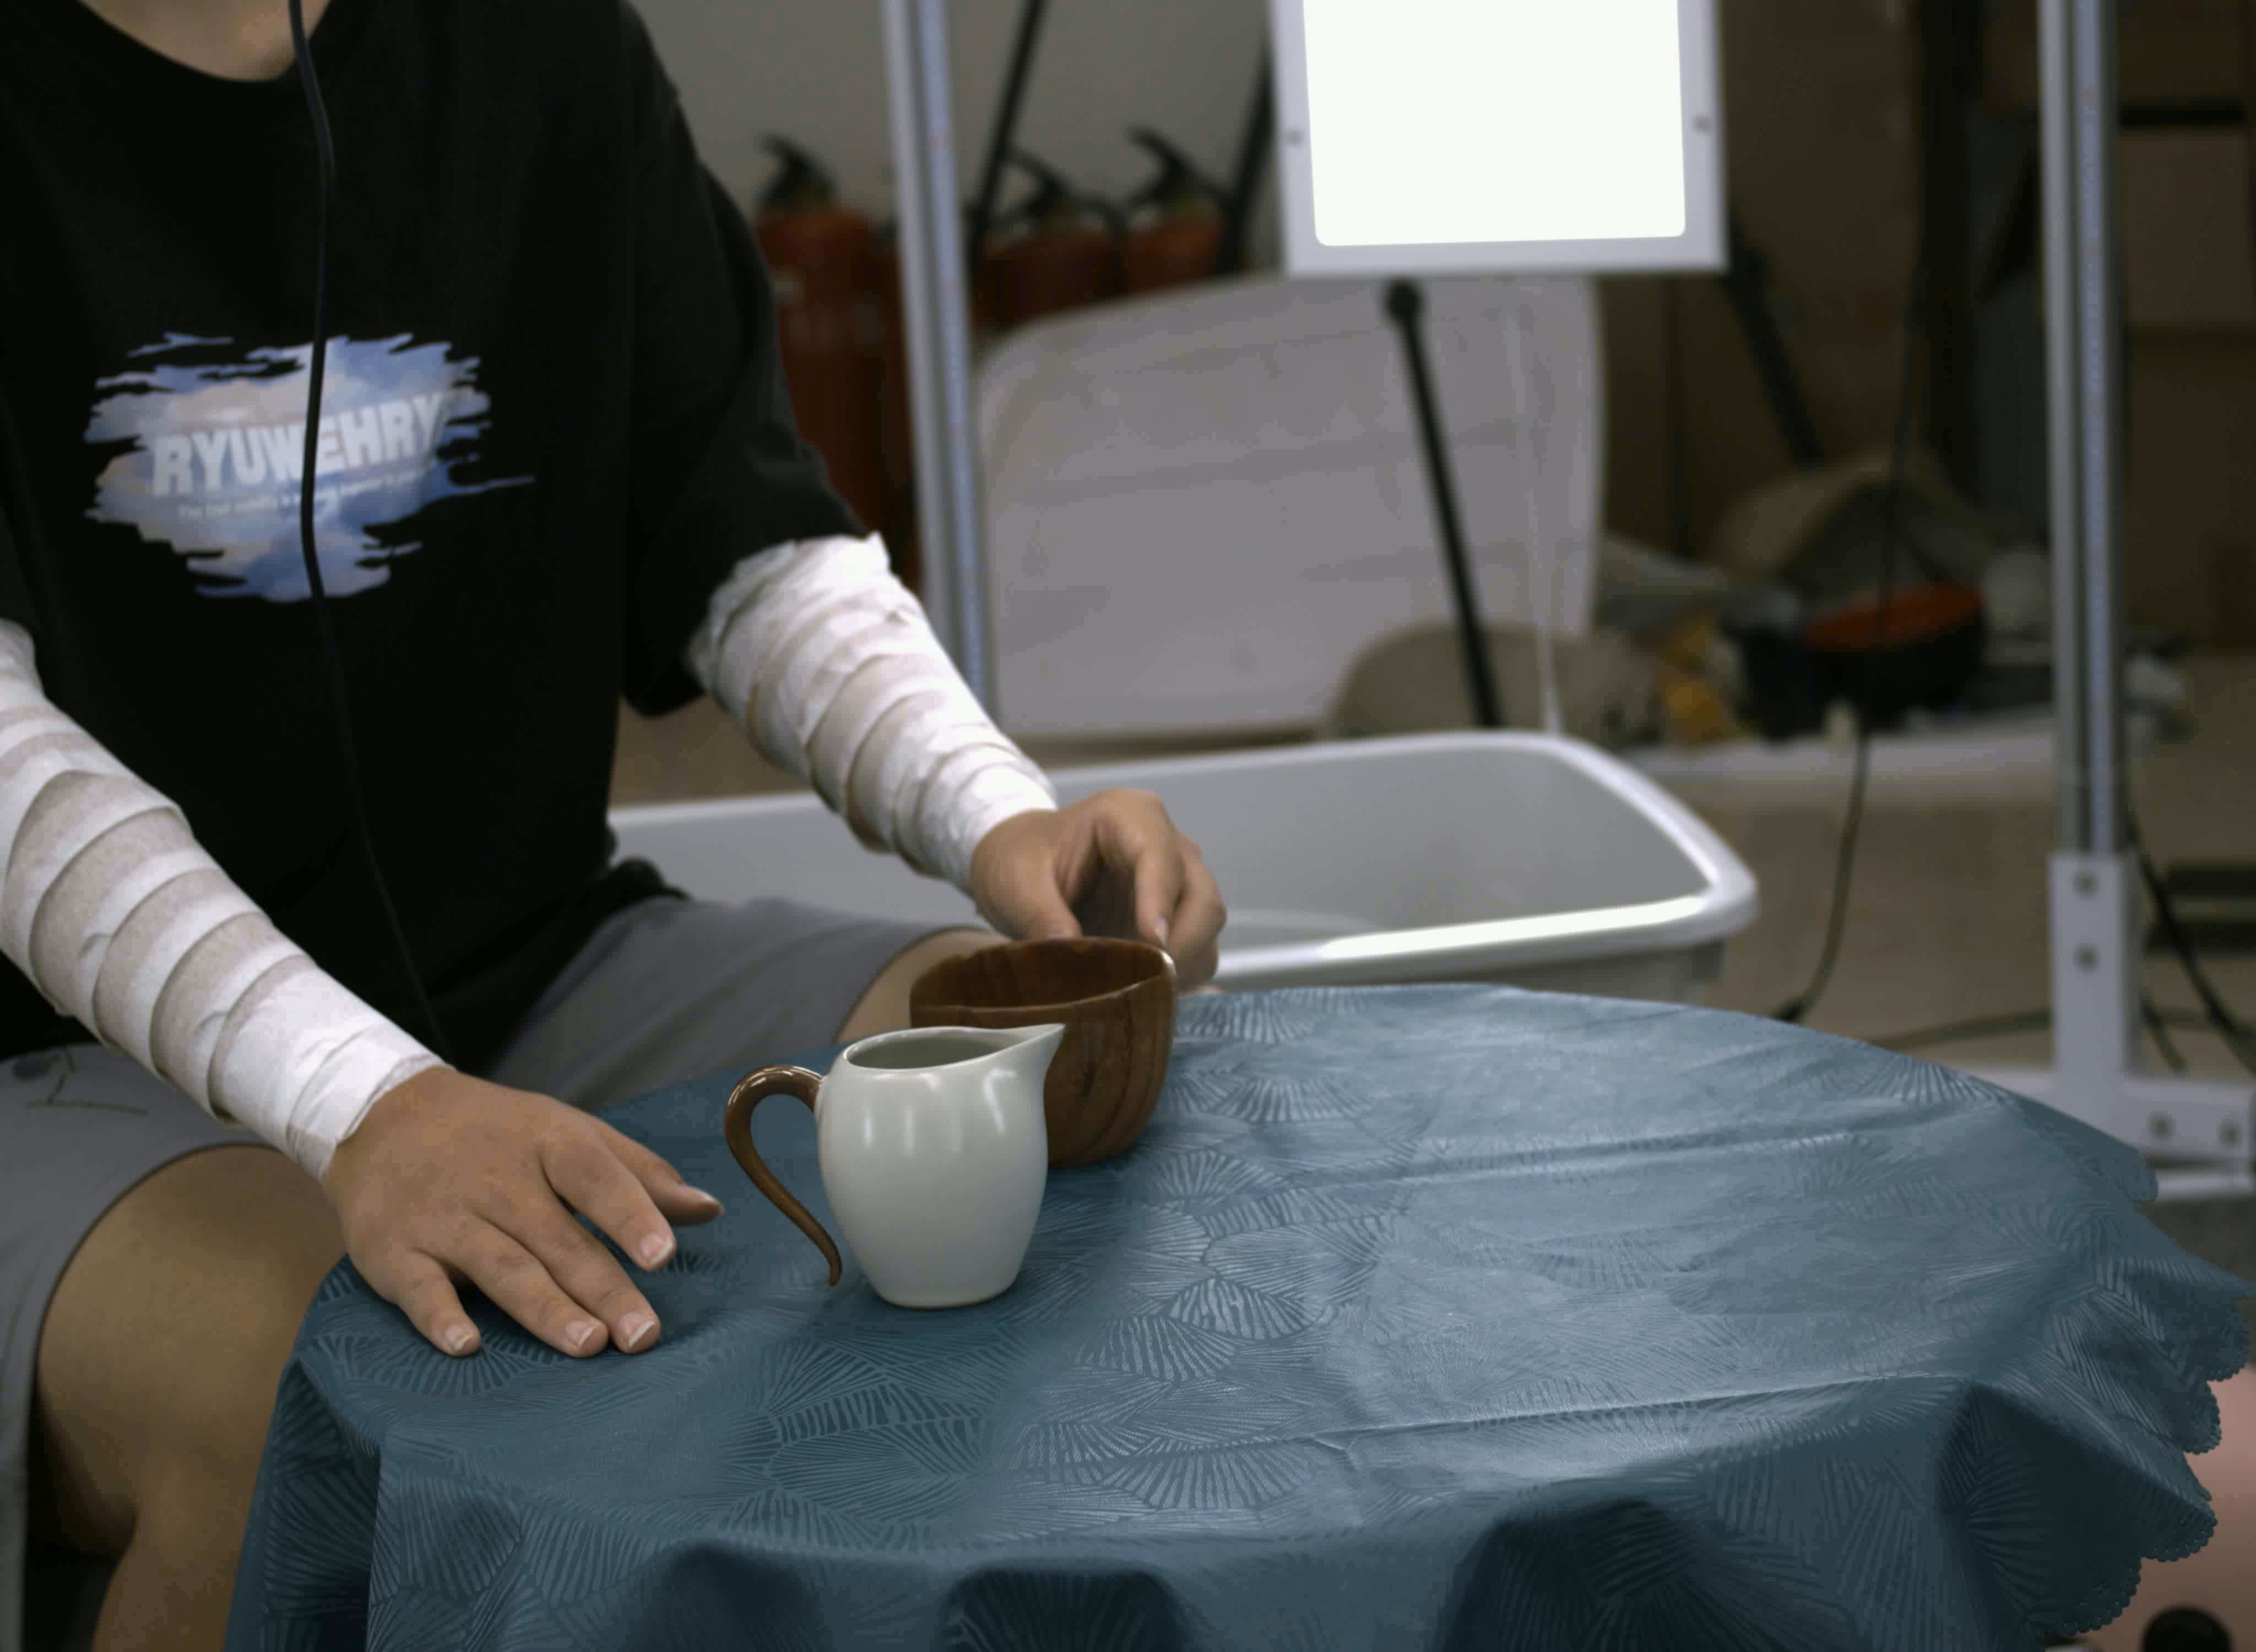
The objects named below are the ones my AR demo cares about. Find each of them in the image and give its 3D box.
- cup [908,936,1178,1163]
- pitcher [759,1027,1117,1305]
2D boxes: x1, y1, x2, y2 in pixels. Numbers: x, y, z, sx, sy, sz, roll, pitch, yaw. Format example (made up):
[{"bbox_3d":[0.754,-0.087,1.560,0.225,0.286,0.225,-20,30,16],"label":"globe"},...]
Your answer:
[{"bbox_3d":[-0.023,0.079,1.964,0.097,0.068,0.117,-4,12,20],"label":"cup"},{"bbox_3d":[-0.062,0.109,1.804,0.120,0.088,0.075,1,9,9],"label":"pitcher"}]
